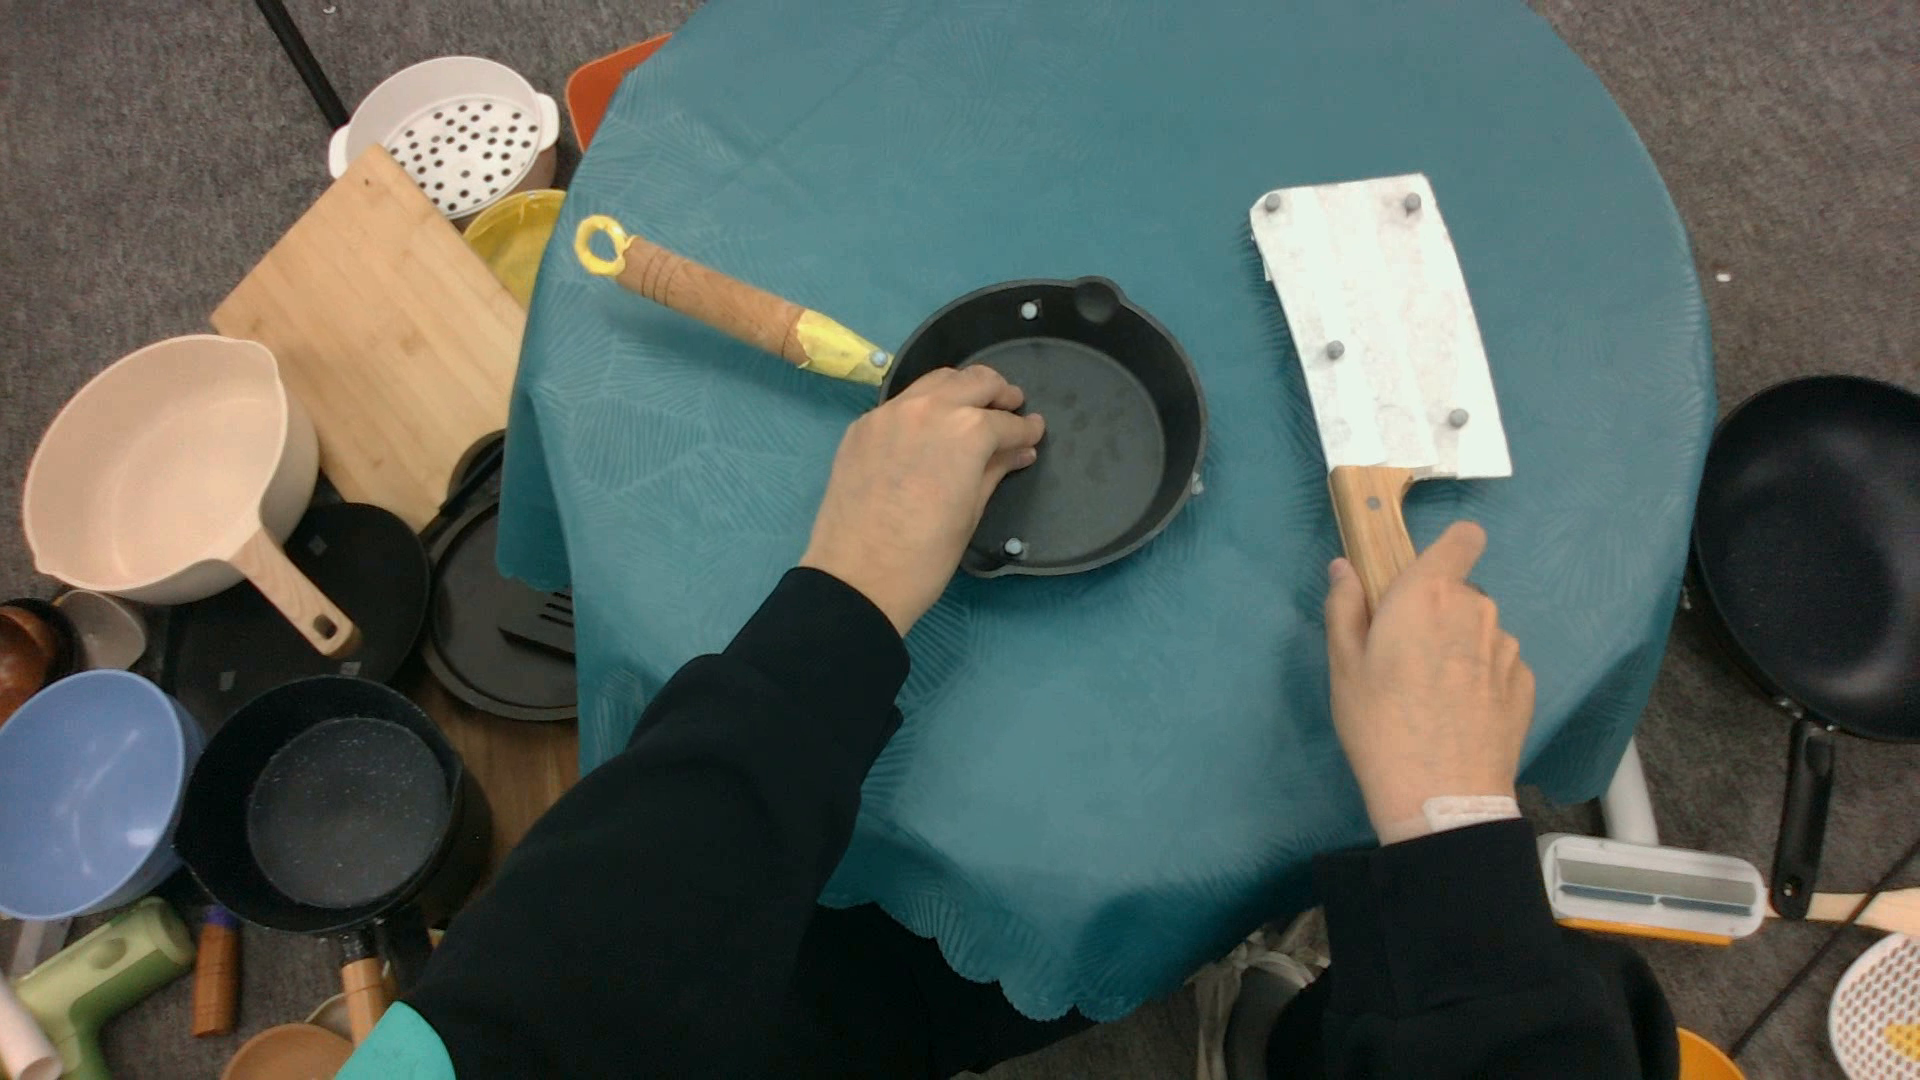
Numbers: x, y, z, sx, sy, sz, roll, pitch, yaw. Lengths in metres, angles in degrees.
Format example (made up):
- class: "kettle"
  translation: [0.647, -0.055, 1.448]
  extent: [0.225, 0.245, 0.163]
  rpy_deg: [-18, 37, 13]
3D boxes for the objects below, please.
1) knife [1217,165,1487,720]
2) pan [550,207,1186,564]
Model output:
- class: "knife"
  translation: [0.193, -0.063, 0.660]
  extent: [0.114, 0.021, 0.316]
  rpy_deg: [1, 61, -6]
- class: "pan"
  translation: [-0.050, -0.092, 0.670]
  extent: [0.324, 0.049, 0.169]
  rpy_deg: [22, 70, 8]
